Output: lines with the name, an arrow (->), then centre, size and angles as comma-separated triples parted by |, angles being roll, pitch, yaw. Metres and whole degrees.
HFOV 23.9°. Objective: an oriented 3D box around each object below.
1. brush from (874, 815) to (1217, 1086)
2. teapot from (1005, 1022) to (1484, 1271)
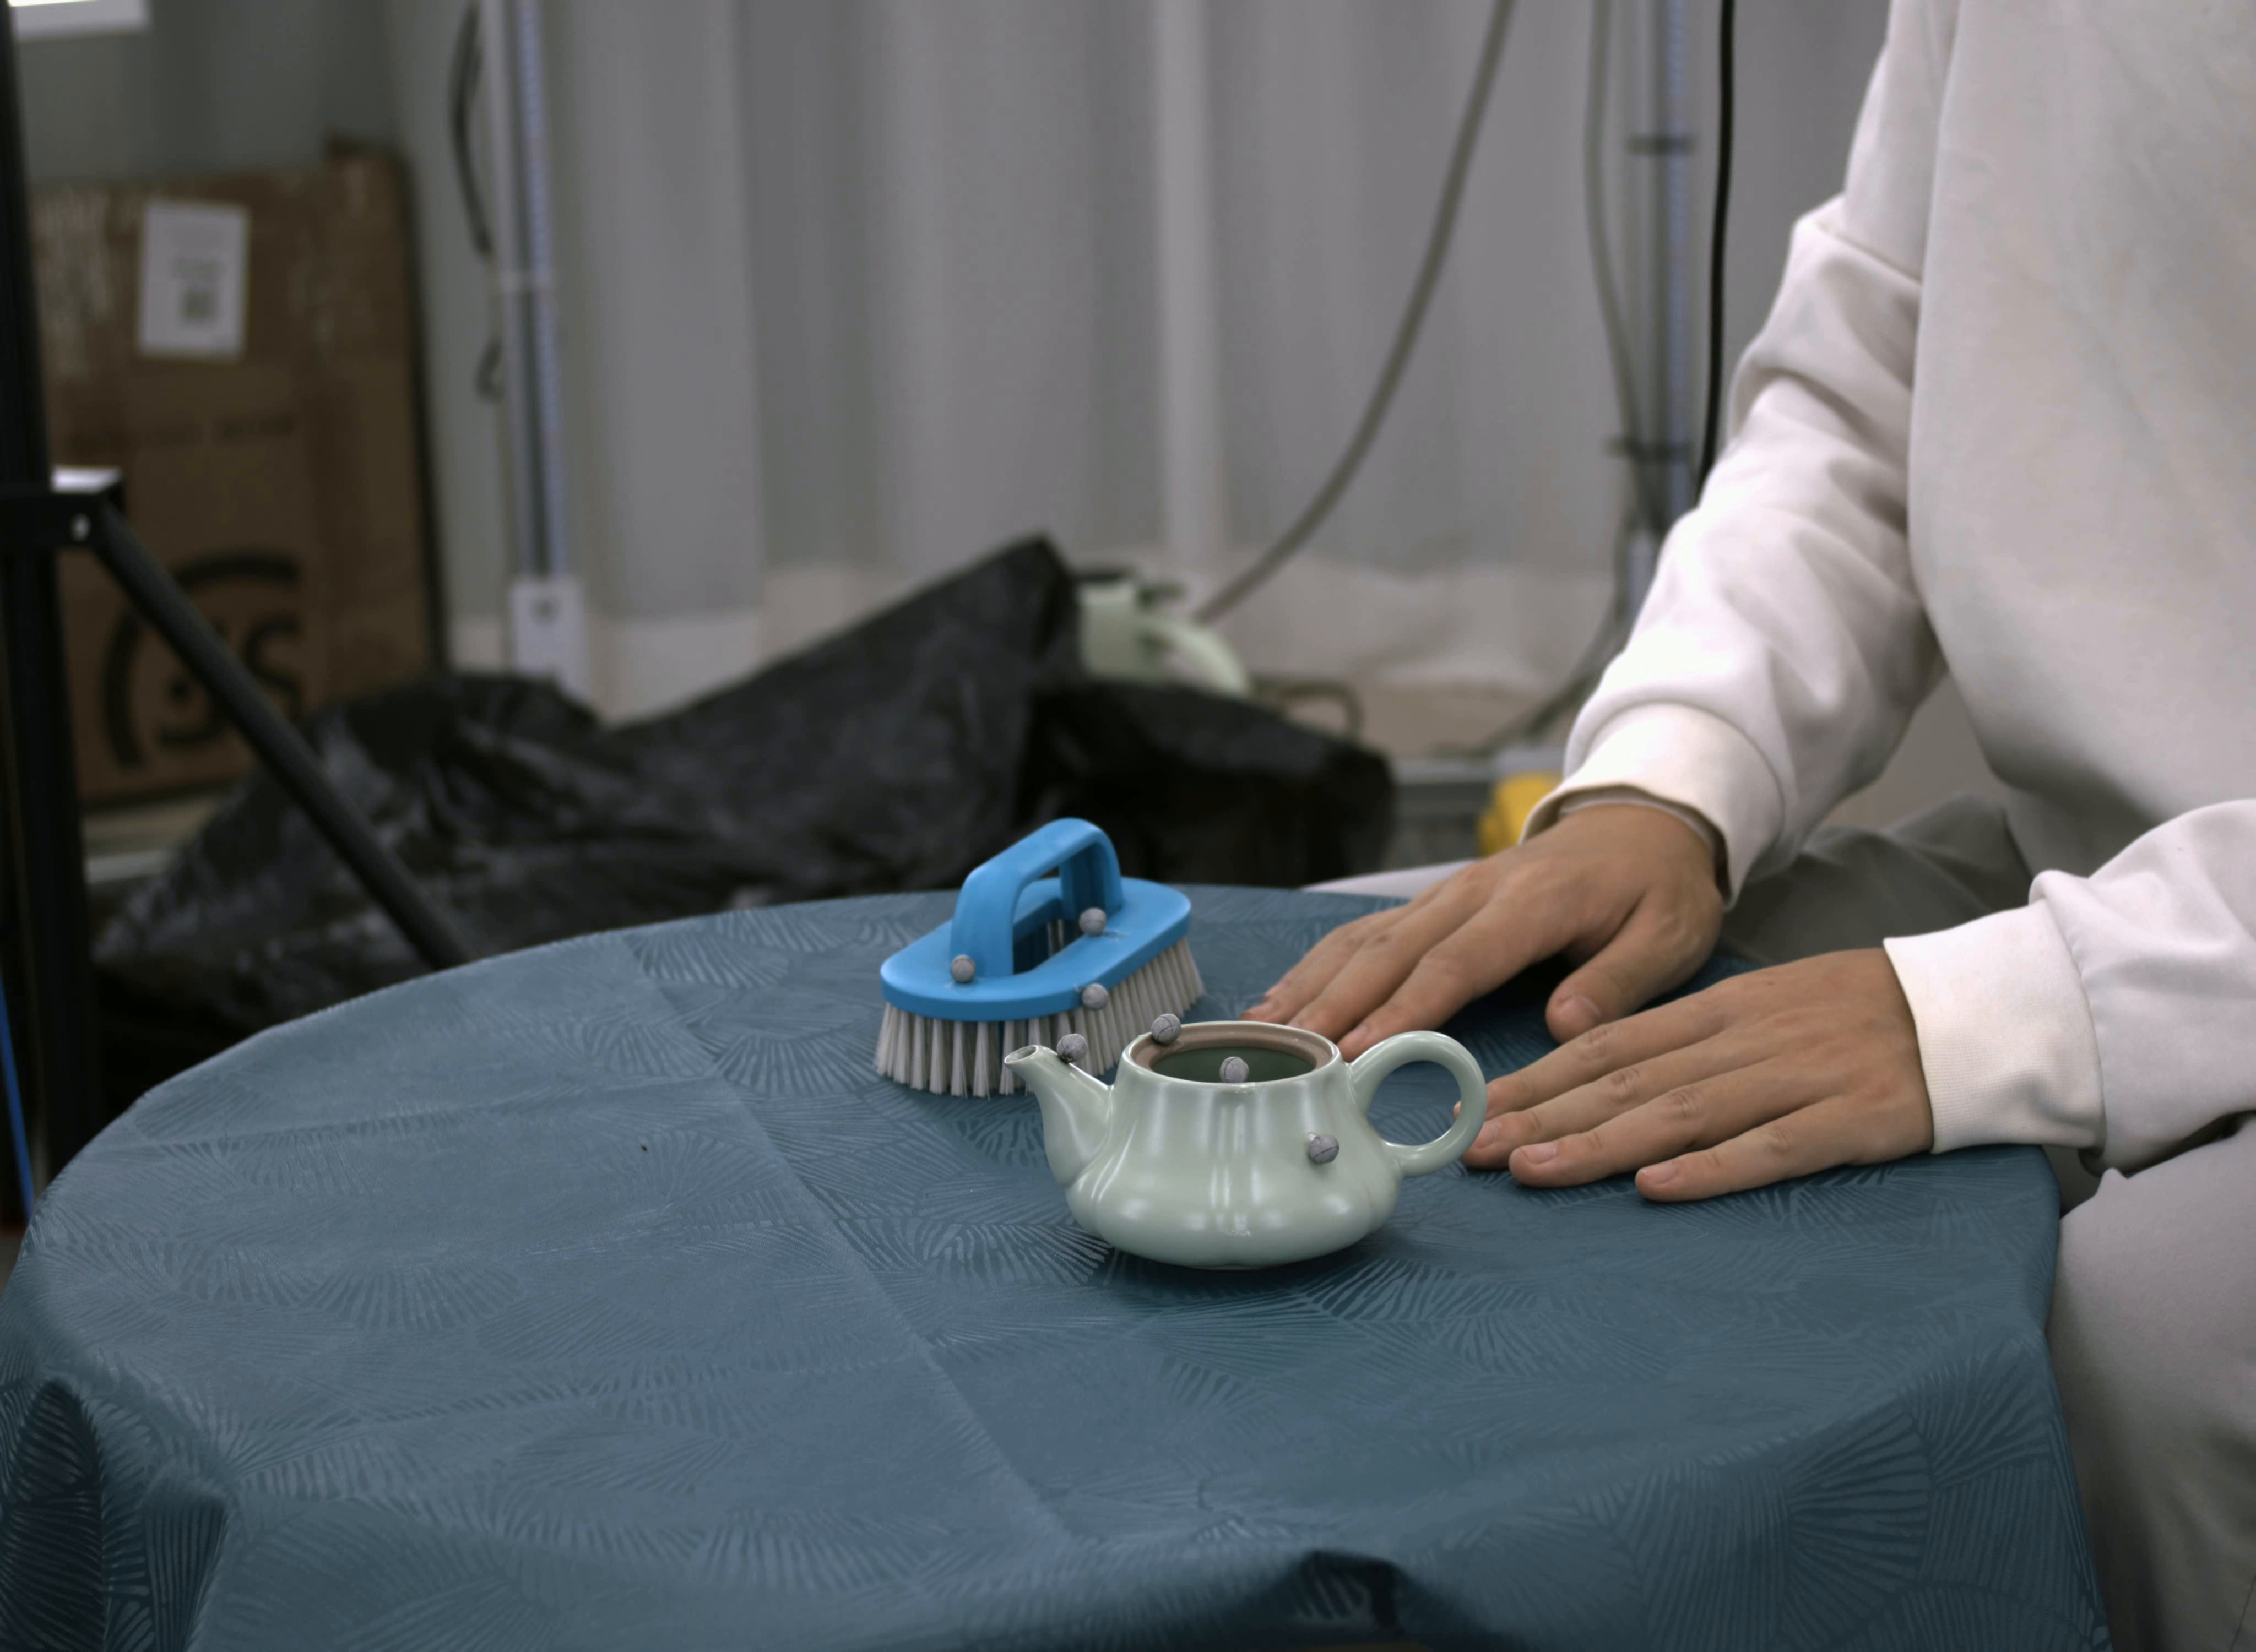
brush -> -0.028, 0.034, 1.705 | 0.085, 0.064, 0.139 | 0, 14, 27
teapot -> 0.034, 0.090, 1.510 | 0.136, 0.061, 0.097 | -3, 13, -2
